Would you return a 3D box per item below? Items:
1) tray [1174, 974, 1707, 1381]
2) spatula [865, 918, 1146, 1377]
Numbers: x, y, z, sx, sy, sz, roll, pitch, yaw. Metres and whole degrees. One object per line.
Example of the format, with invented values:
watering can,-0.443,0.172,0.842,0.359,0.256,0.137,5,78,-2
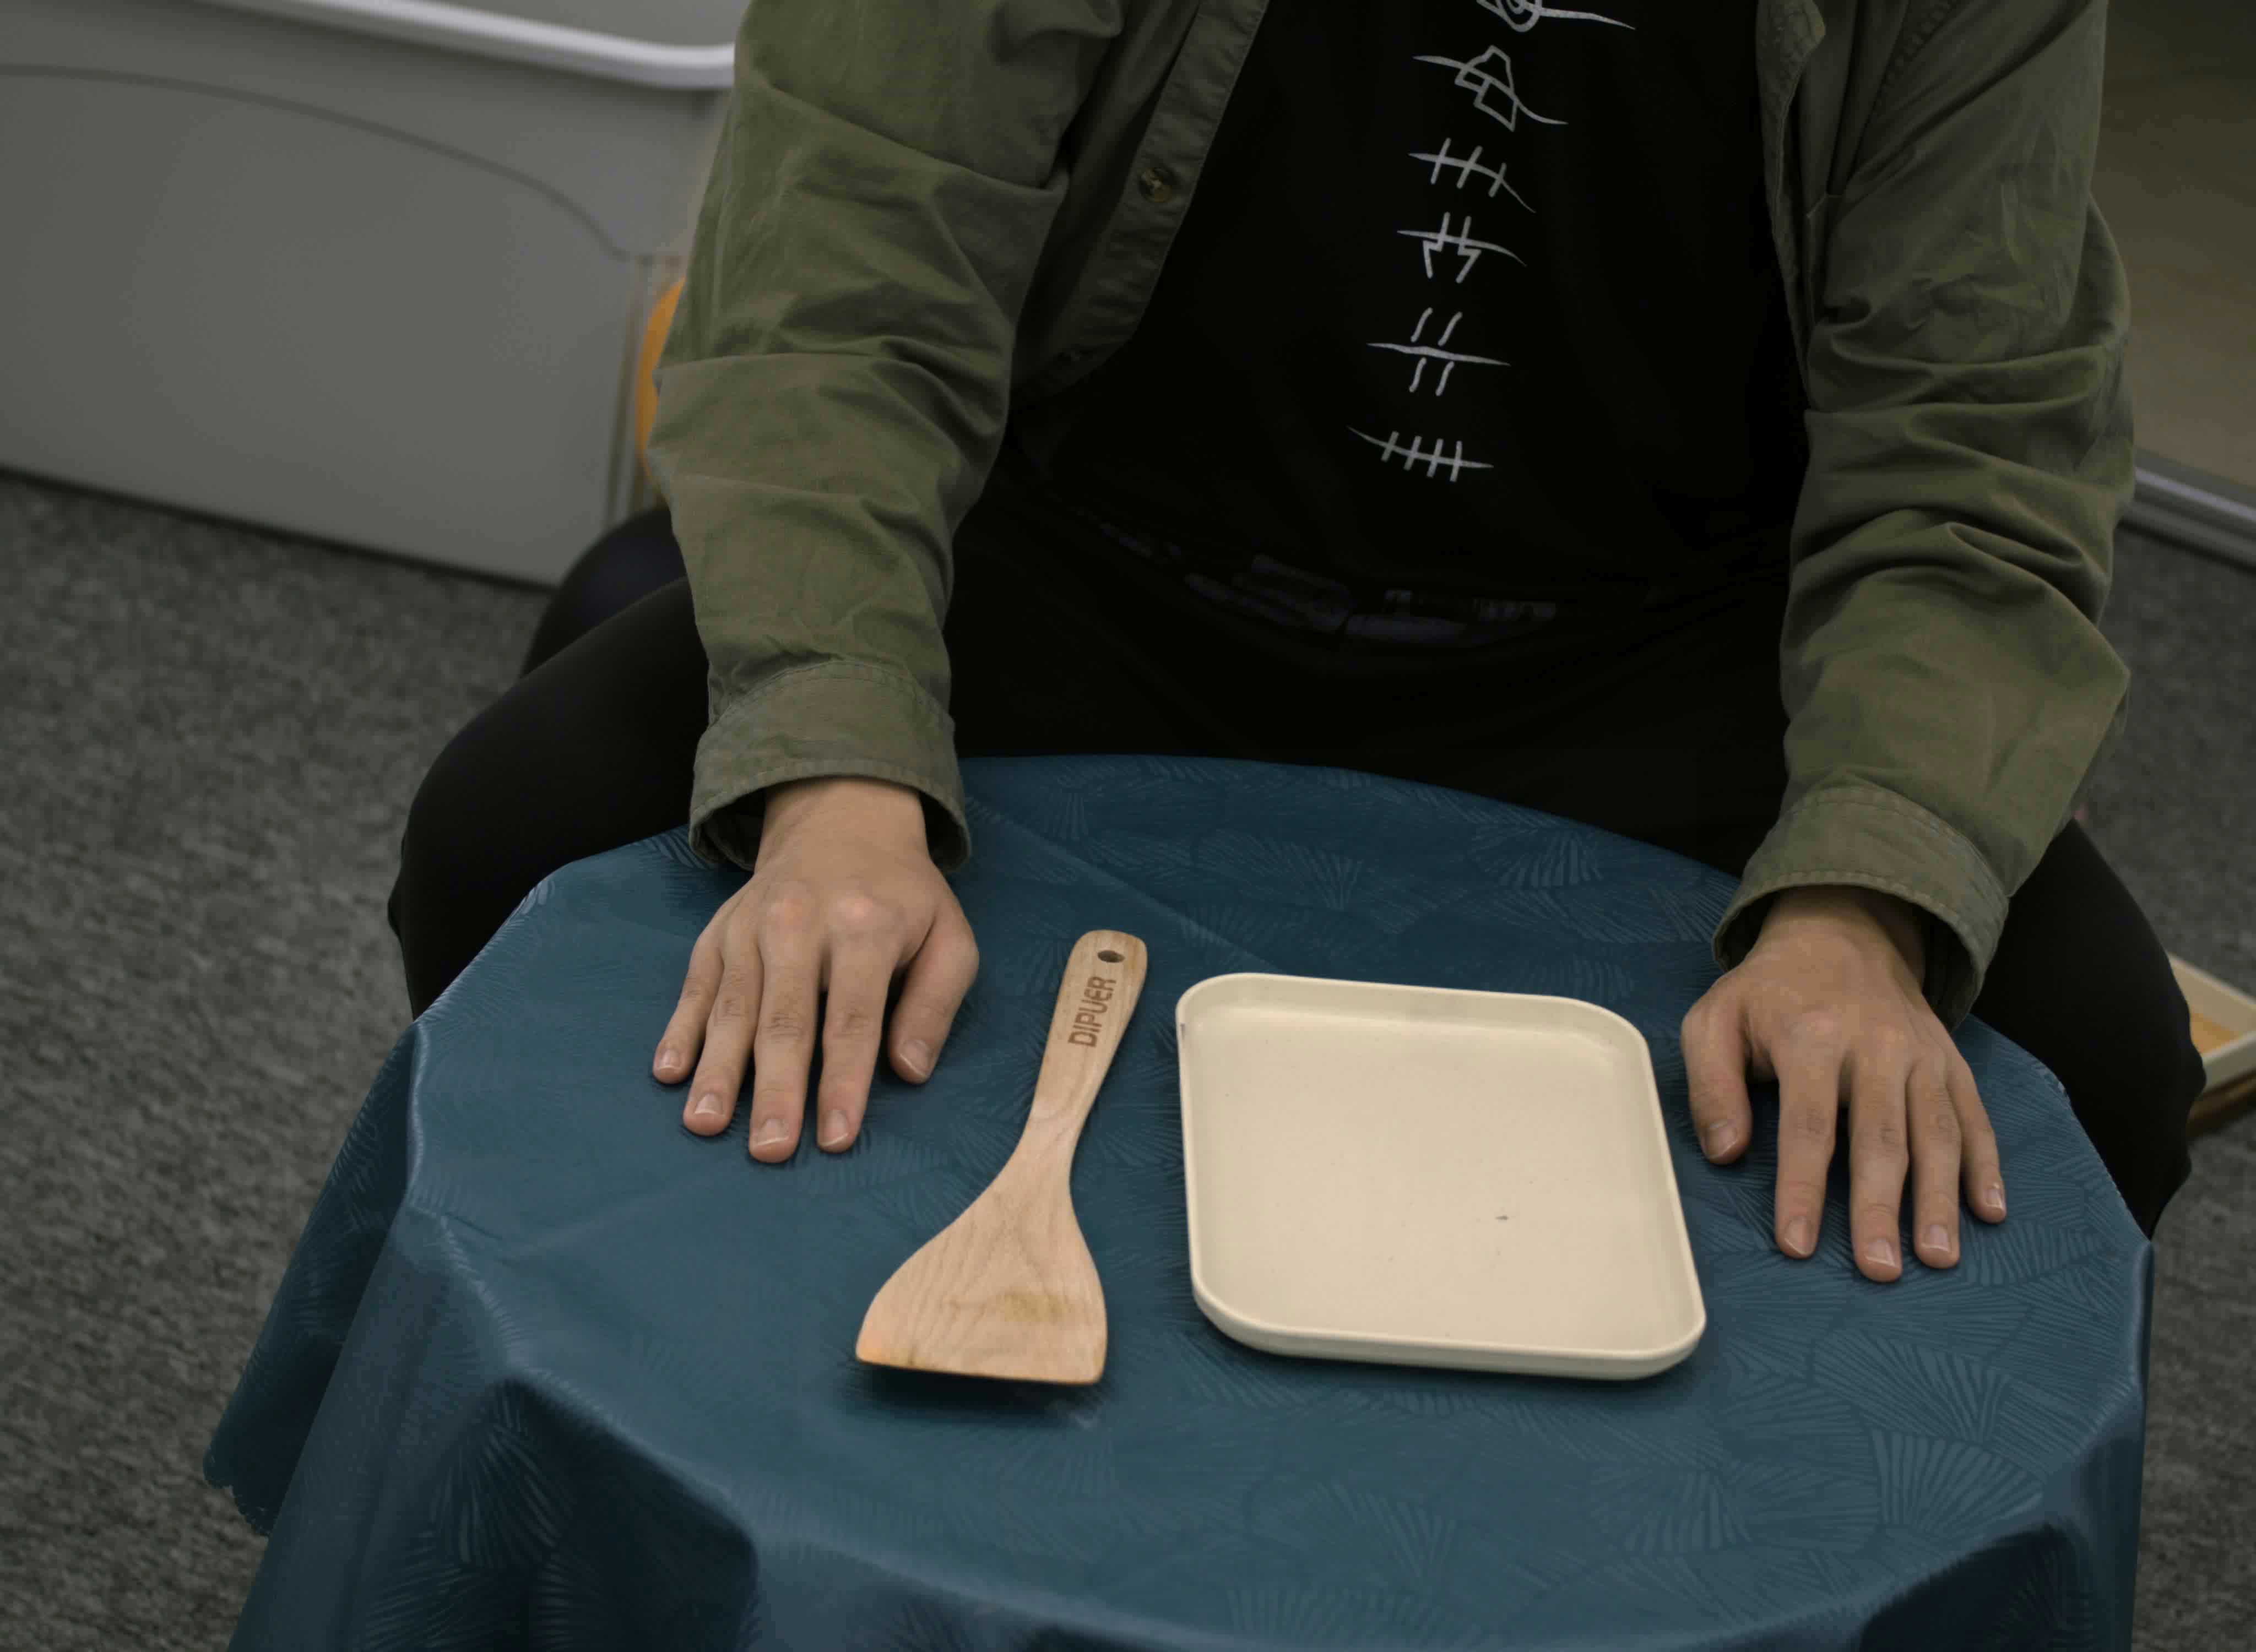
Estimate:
tray,0.102,0.119,1.812,0.170,0.017,0.241,5,26,-3
spatula,-0.025,0.105,1.812,0.080,0.016,0.329,9,27,4
